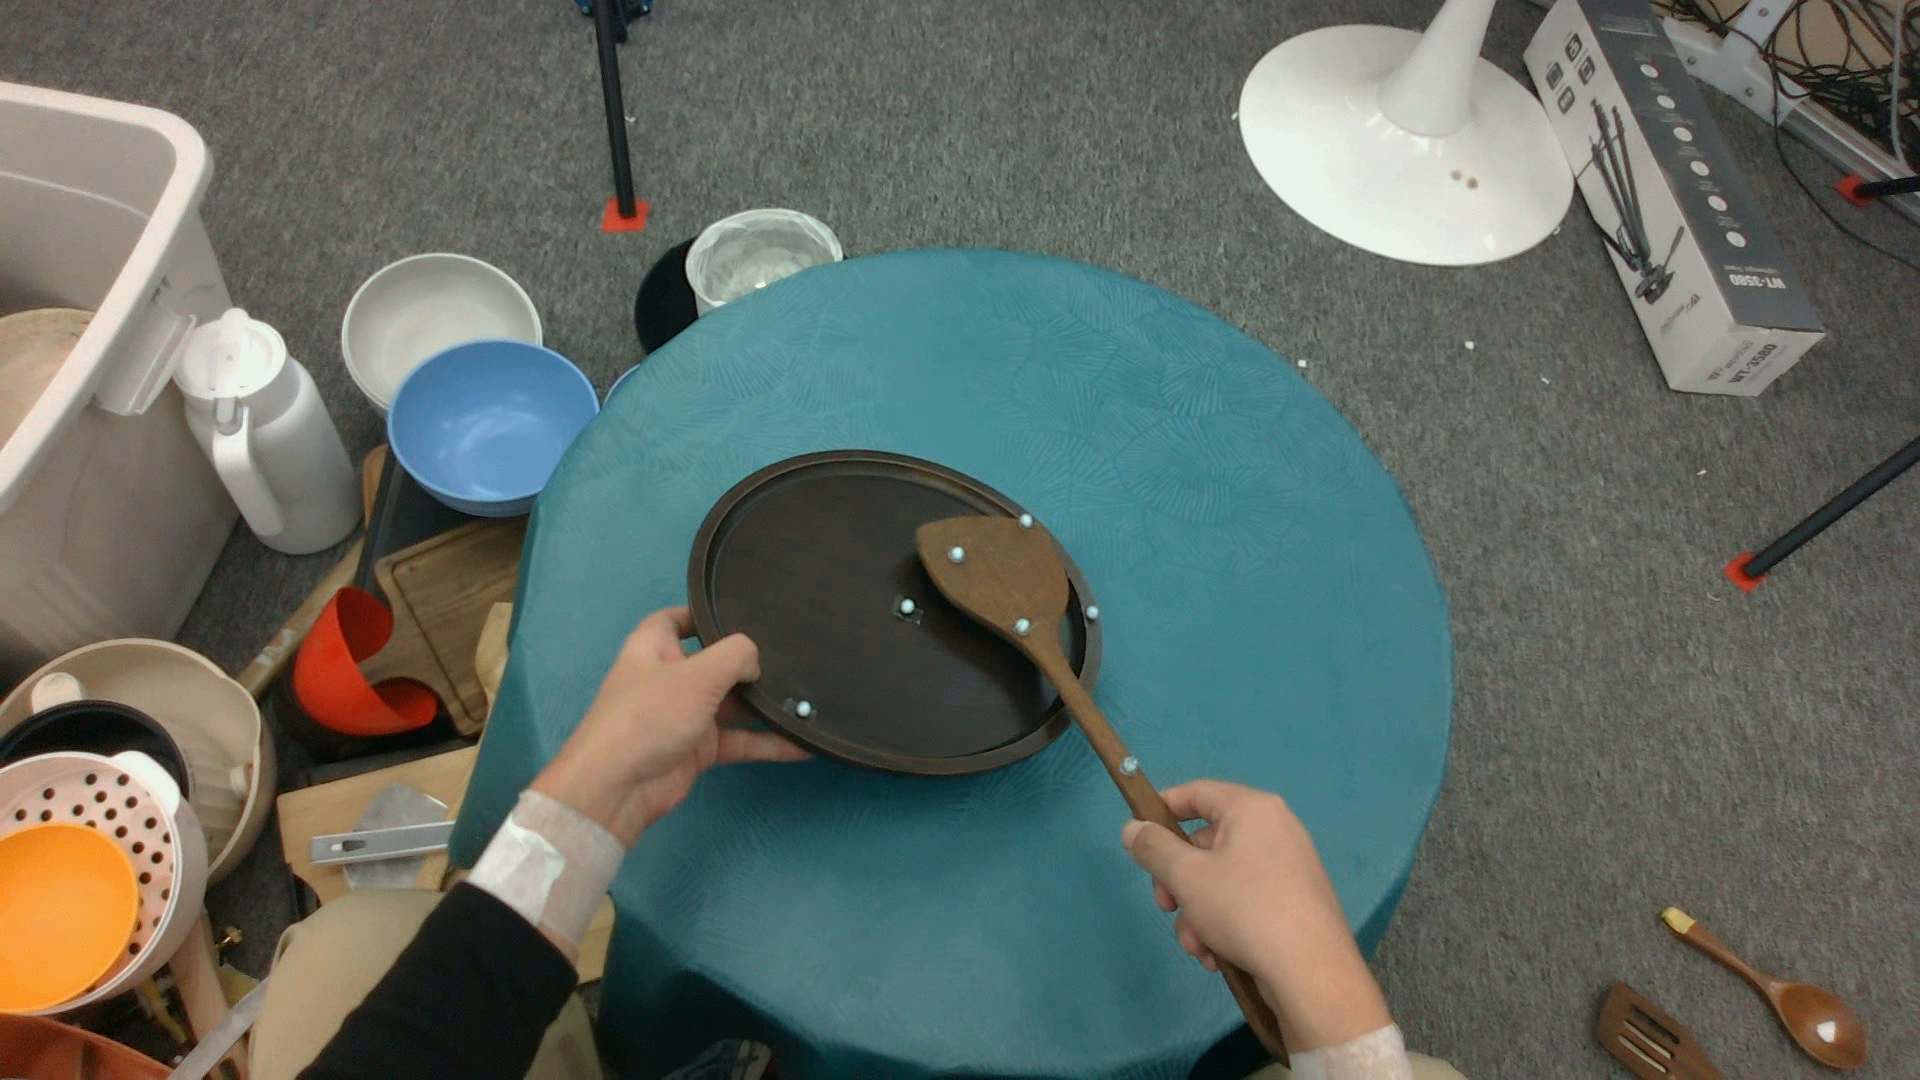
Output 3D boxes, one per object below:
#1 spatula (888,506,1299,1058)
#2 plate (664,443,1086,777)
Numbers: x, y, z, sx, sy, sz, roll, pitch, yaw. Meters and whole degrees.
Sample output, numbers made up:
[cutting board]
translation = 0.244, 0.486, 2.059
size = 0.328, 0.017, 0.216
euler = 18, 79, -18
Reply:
[spatula]
translation = 0.070, 0.107, 0.750
size = 0.096, 0.015, 0.387
euler = -6, 43, -30
[plate]
translation = -0.048, 0.035, 0.816
size = 0.255, 0.029, 0.256
euler = 12, 43, -11
